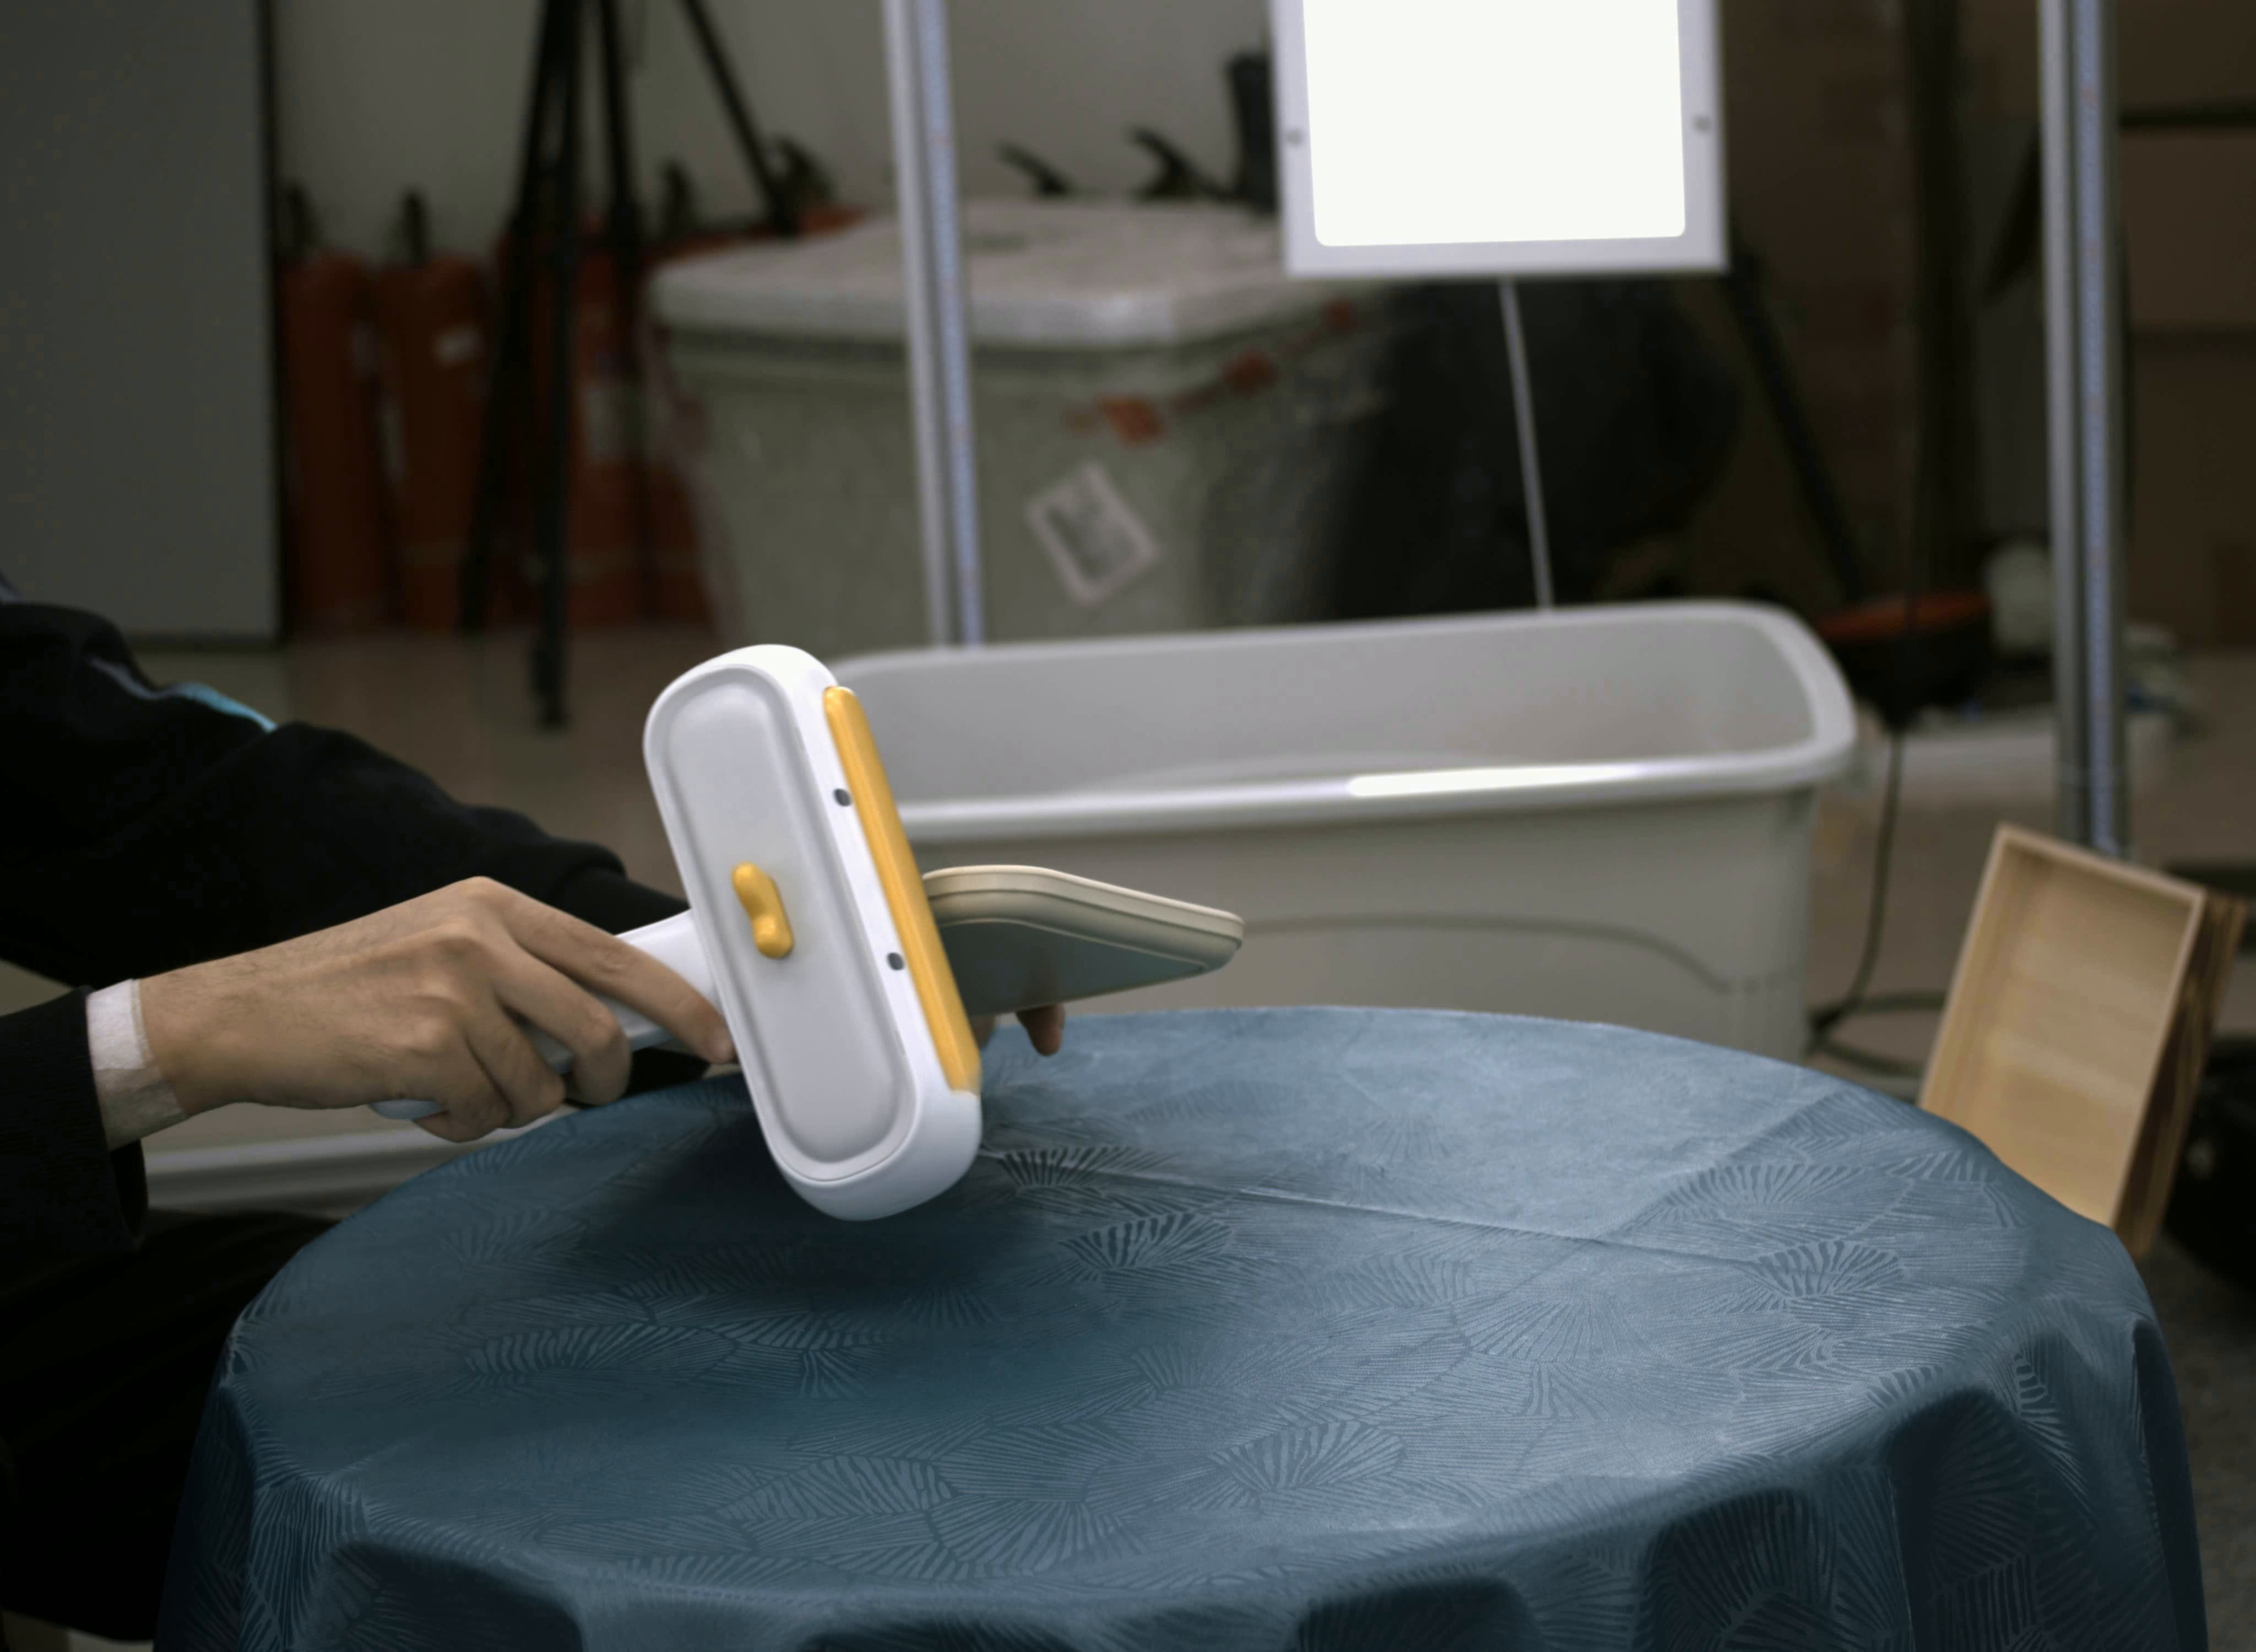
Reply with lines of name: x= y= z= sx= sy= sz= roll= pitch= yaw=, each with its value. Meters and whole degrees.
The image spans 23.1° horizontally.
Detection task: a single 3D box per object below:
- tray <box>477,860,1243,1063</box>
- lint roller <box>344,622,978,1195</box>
tray: x=-0.093 y=0.051 z=1.905 sx=0.245 sy=0.017 sz=0.167 roll=-13 pitch=-16 yaw=34
lint roller: x=-0.161 y=0.051 z=1.785 sx=0.194 sy=0.193 sz=0.073 roll=-26 pitch=-12 yaw=11
